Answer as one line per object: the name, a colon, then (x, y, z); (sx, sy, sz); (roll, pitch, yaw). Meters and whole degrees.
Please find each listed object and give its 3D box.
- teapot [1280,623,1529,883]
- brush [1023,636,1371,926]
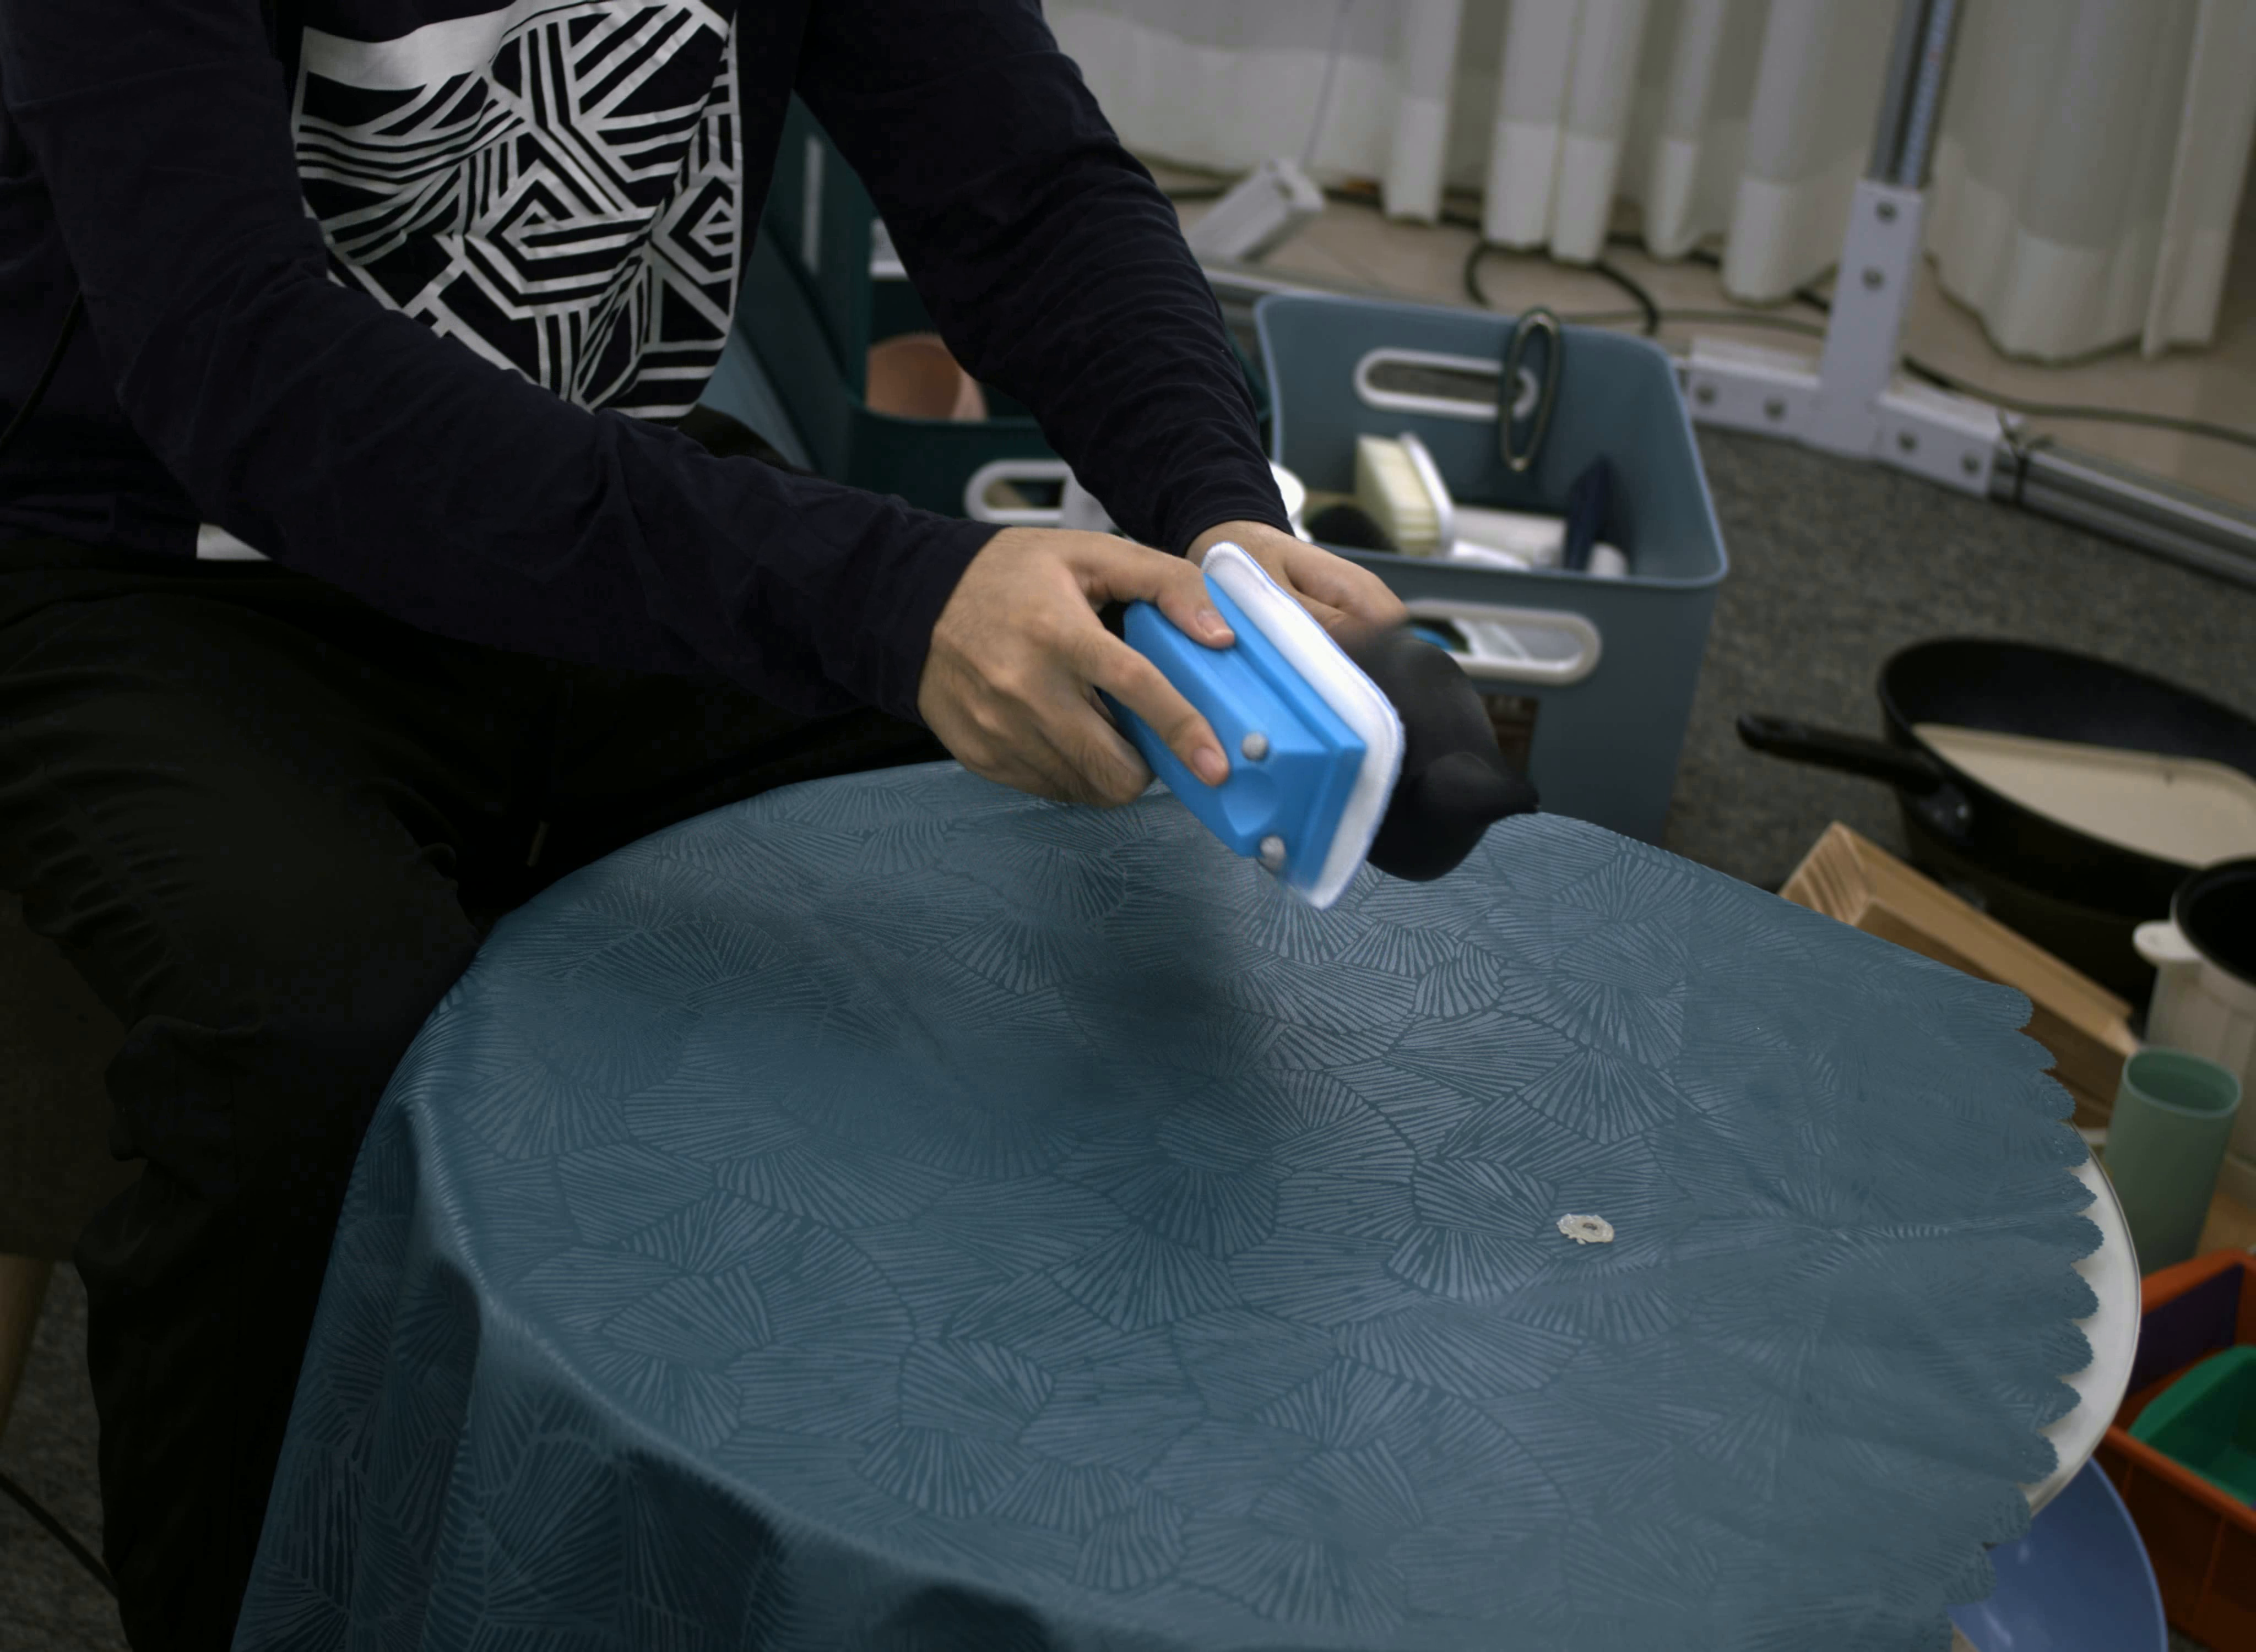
teapot: (0.088, -0.026, 1.843); (0.053, 0.090, 0.134); (-12, 27, -20)
brush: (0.015, -0.018, 1.824); (0.145, 0.084, 0.055); (16, 2, 44)
